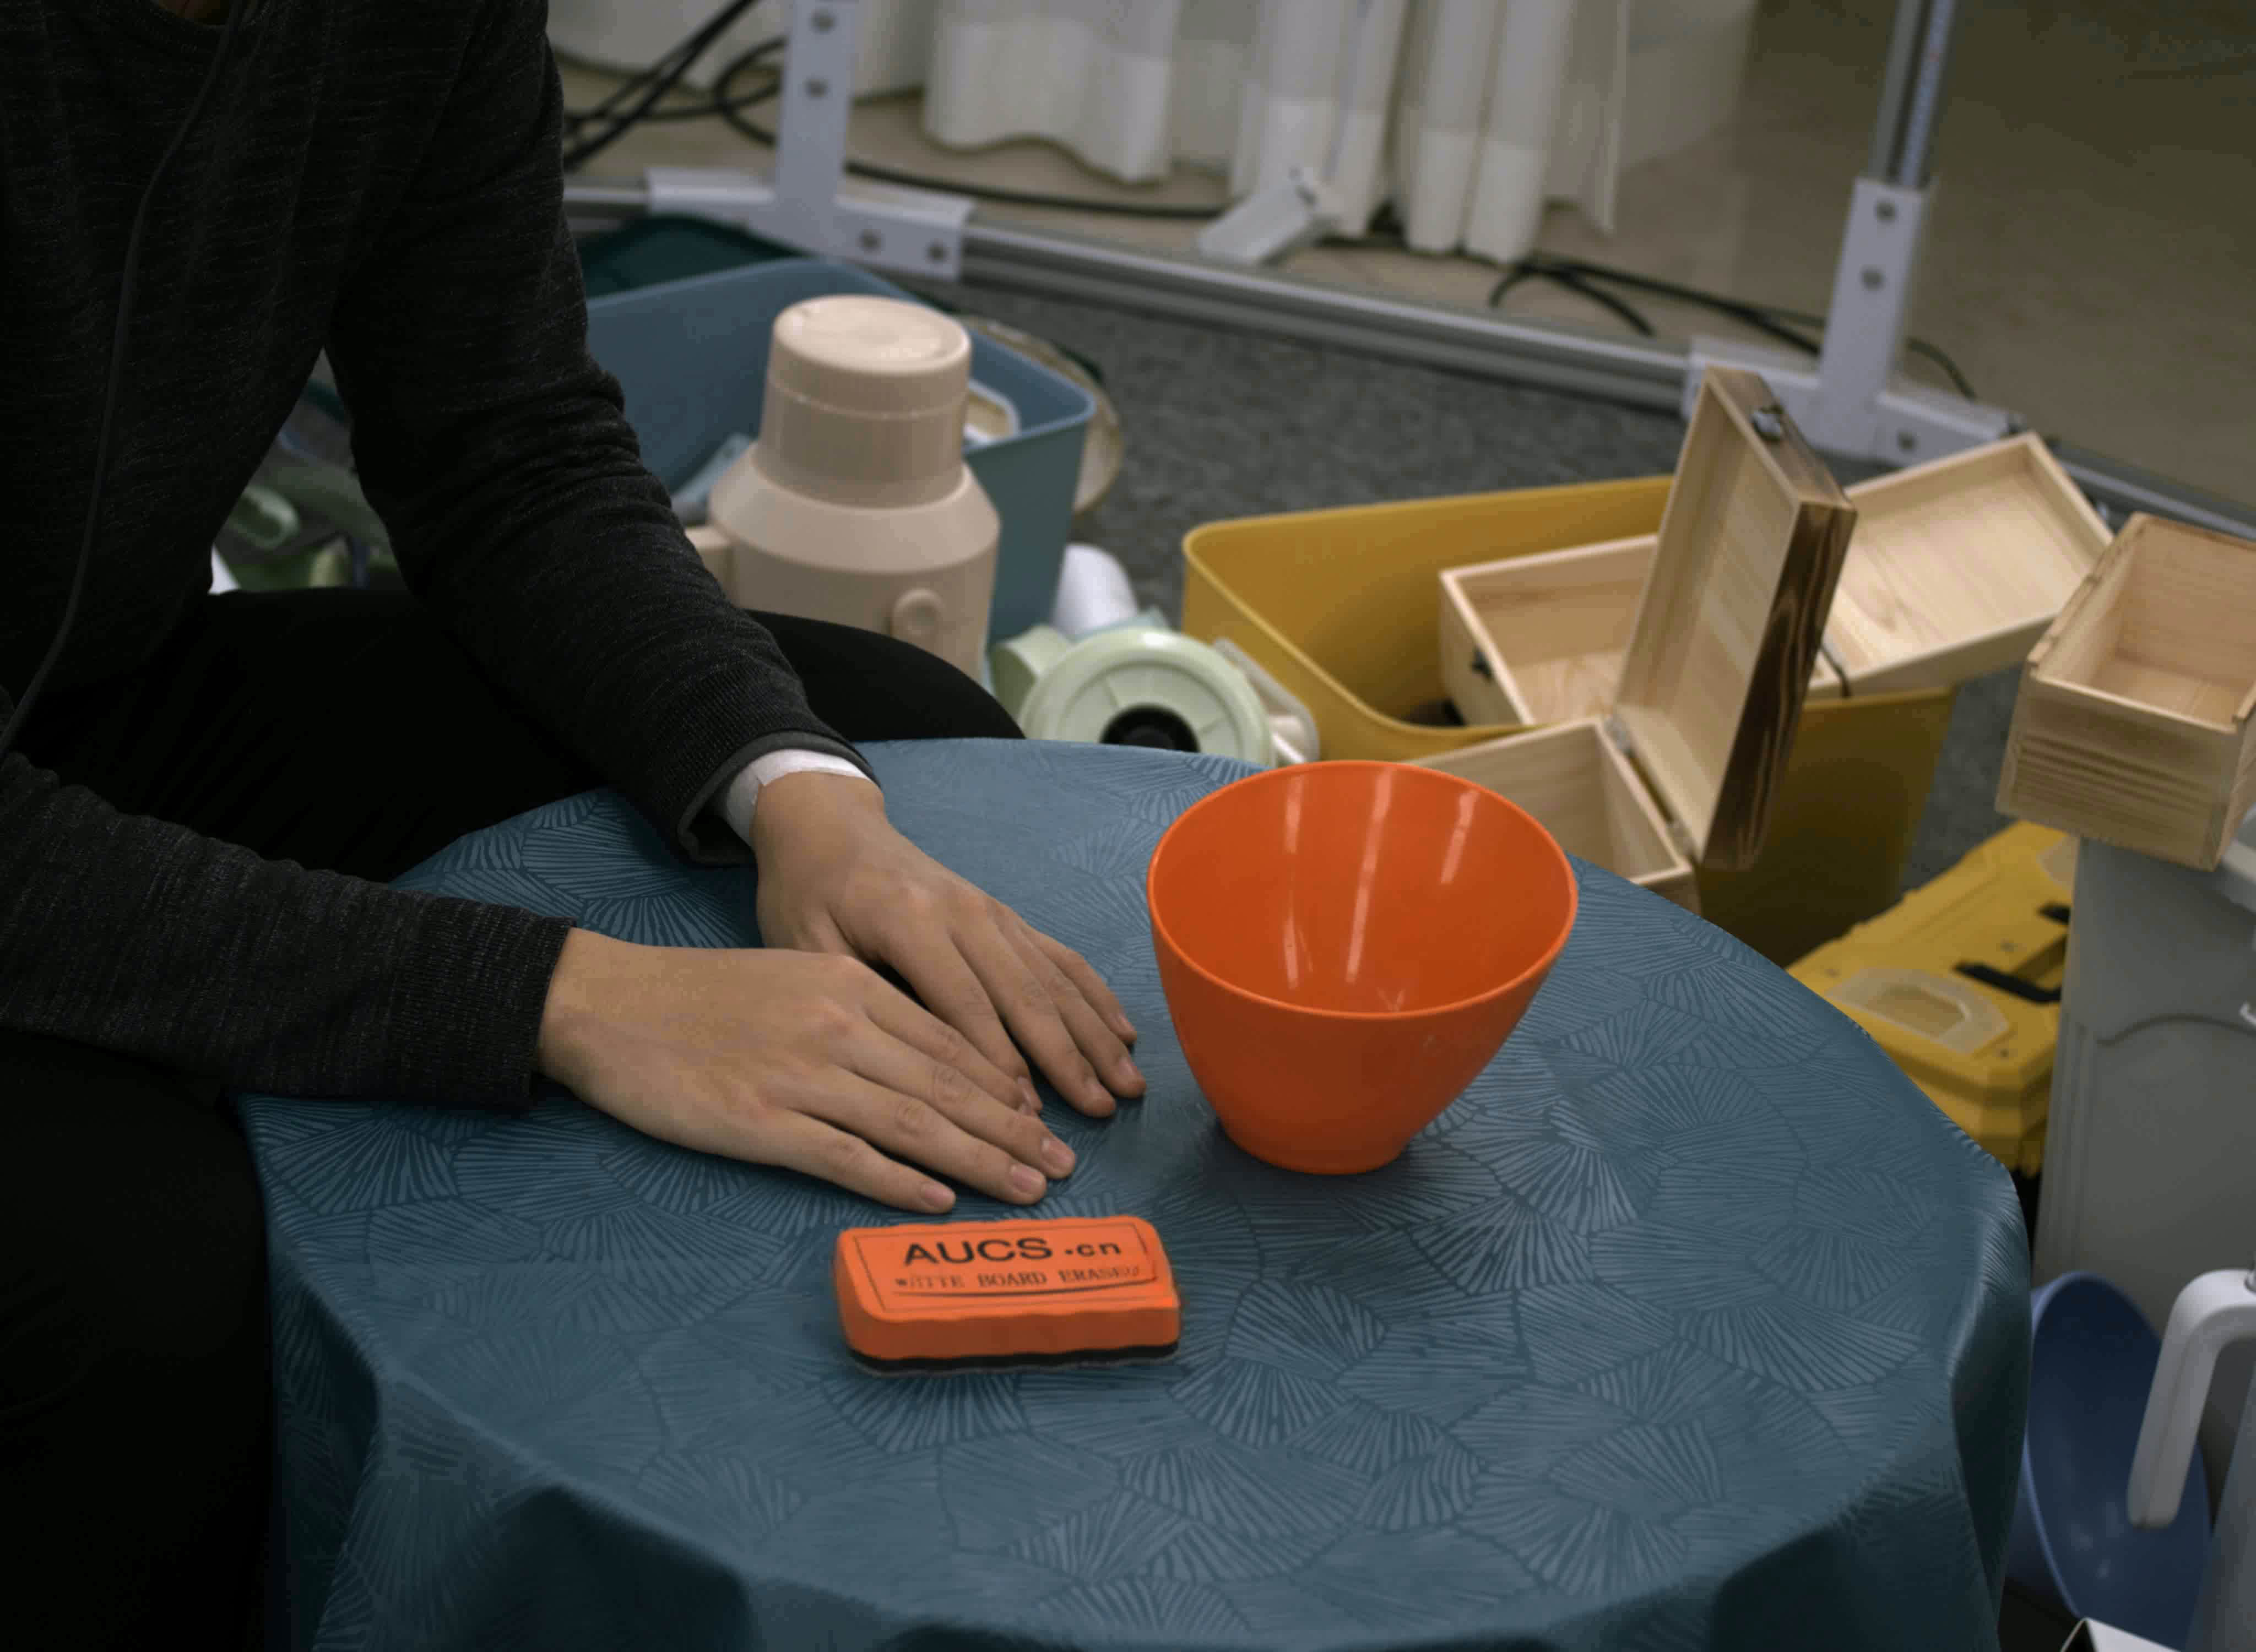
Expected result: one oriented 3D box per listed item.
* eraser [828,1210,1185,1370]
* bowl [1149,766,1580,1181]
[{"bbox_3d":[-0.039,0.149,1.711,0.107,0.023,0.059,-1,29,-17],"label":"eraser"},{"bbox_3d":[0.076,0.058,1.838,0.147,0.104,0.149,5,27,-3],"label":"bowl"}]
